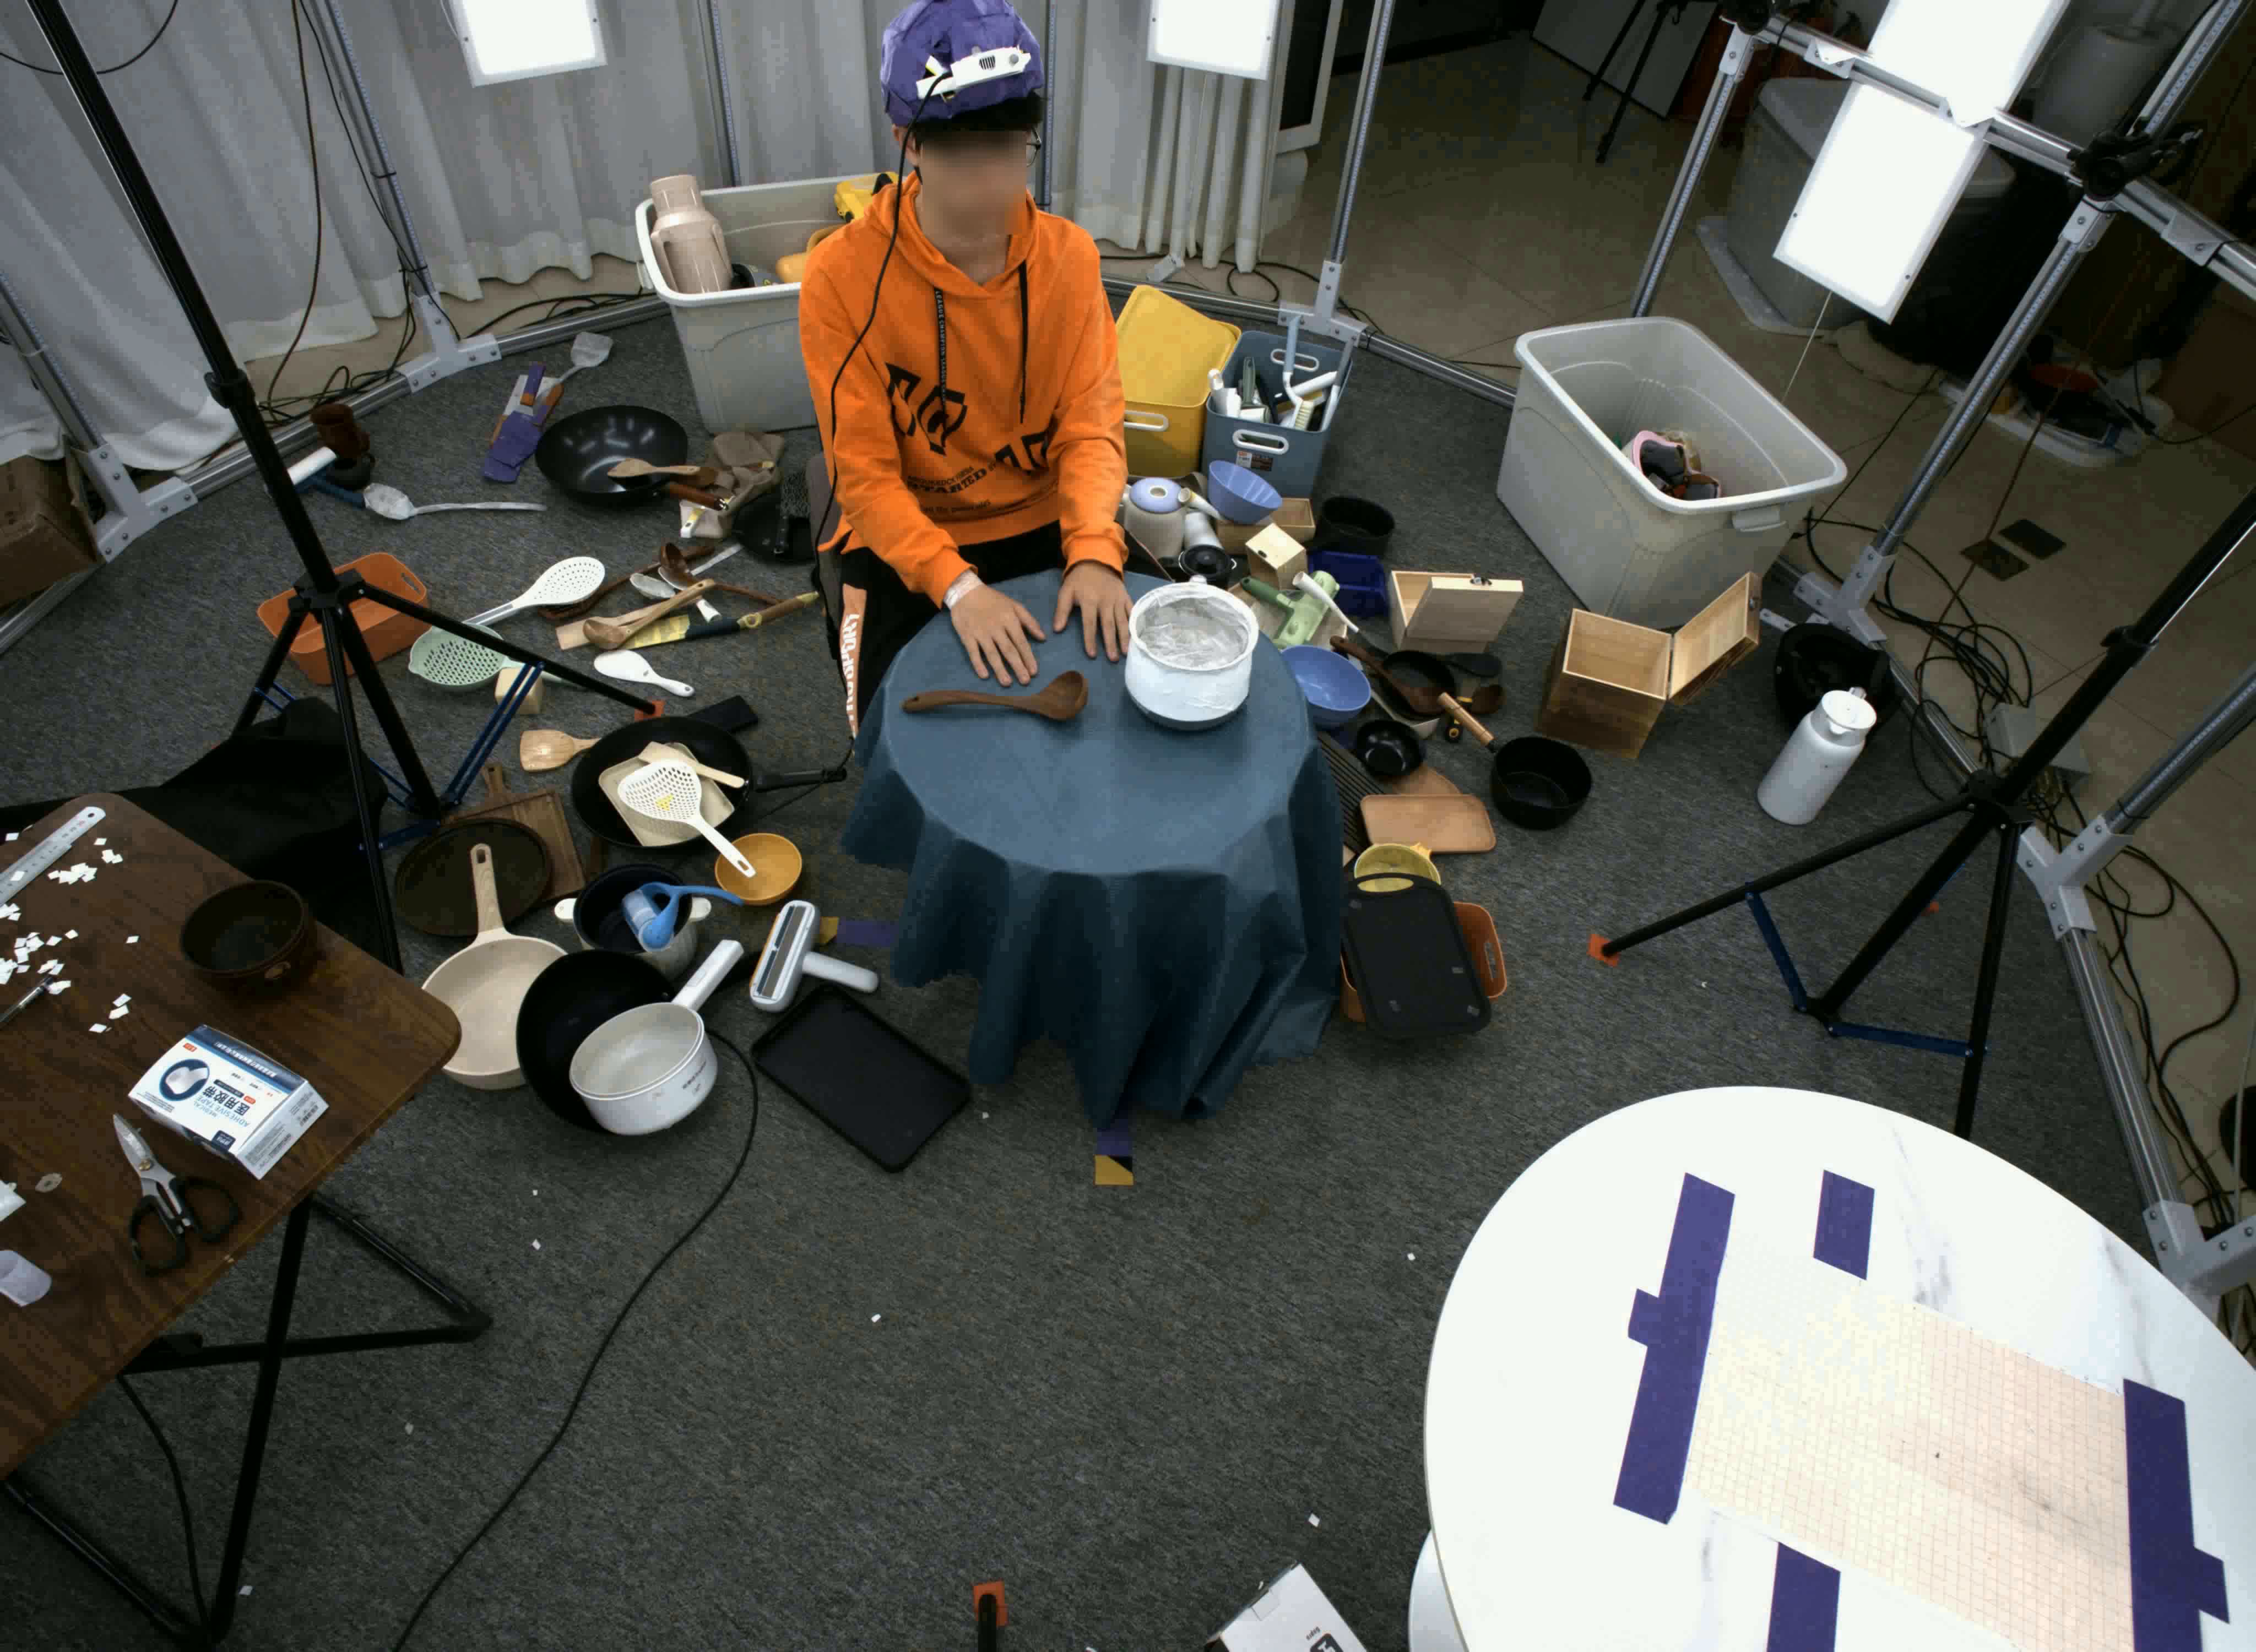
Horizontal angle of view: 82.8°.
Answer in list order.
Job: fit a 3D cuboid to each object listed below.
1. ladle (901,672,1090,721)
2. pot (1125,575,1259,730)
[{"bbox_3d":[-0.183,-0.181,1.773,0.260,0.063,0.078,2,50,-3],"label":"ladle"},{"bbox_3d":[0.087,-0.254,1.806,0.178,0.133,0.239,6,49,0],"label":"pot"}]
